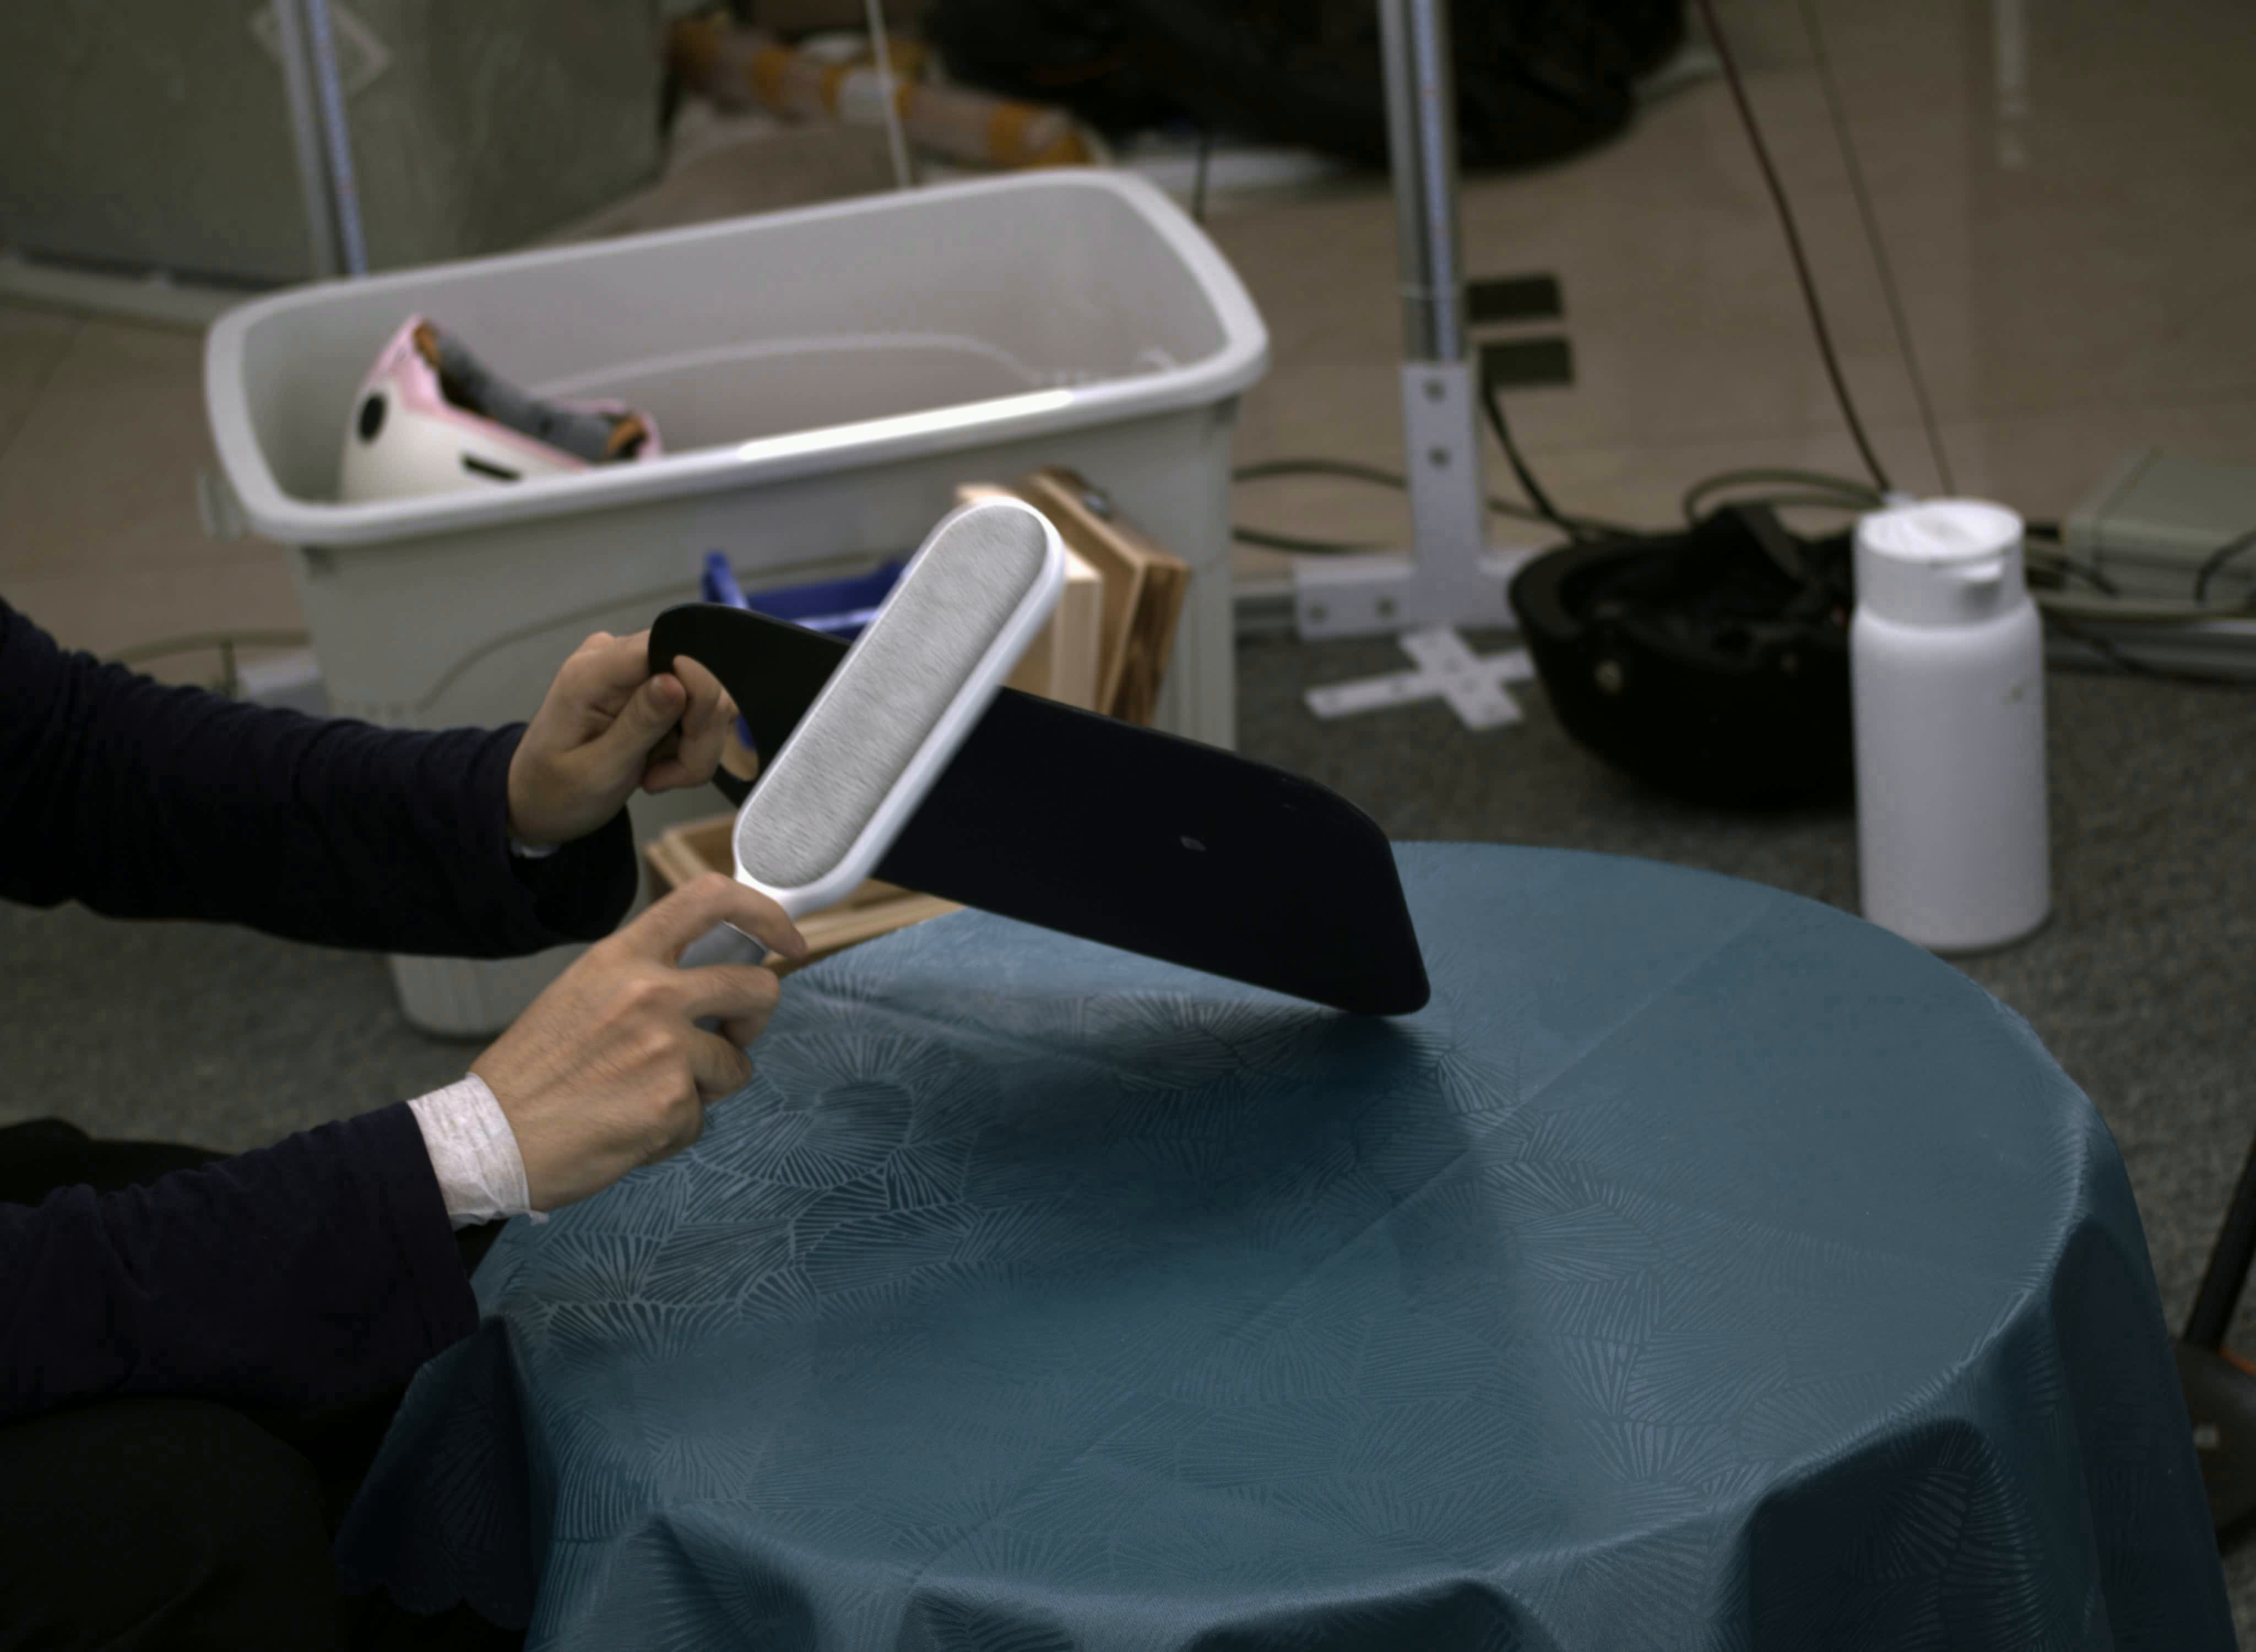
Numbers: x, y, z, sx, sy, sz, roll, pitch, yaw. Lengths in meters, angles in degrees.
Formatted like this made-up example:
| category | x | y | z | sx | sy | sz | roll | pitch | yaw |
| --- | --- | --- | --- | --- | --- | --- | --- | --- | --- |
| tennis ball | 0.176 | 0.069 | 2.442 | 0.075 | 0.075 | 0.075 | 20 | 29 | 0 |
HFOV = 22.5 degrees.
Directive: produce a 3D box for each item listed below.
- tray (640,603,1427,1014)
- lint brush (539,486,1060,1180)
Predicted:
| category | x | y | z | sx | sy | sz | roll | pitch | yaw |
| --- | --- | --- | --- | --- | --- | --- | --- | --- | --- |
| tray | -0.041 | -0.009 | 2.213 | 0.324 | 0.214 | 0.009 | 16 | 67 | 19 |
| lint brush | -0.124 | 0.001 | 2.093 | 0.059 | 0.021 | 0.307 | 30 | 80 | 26 |
